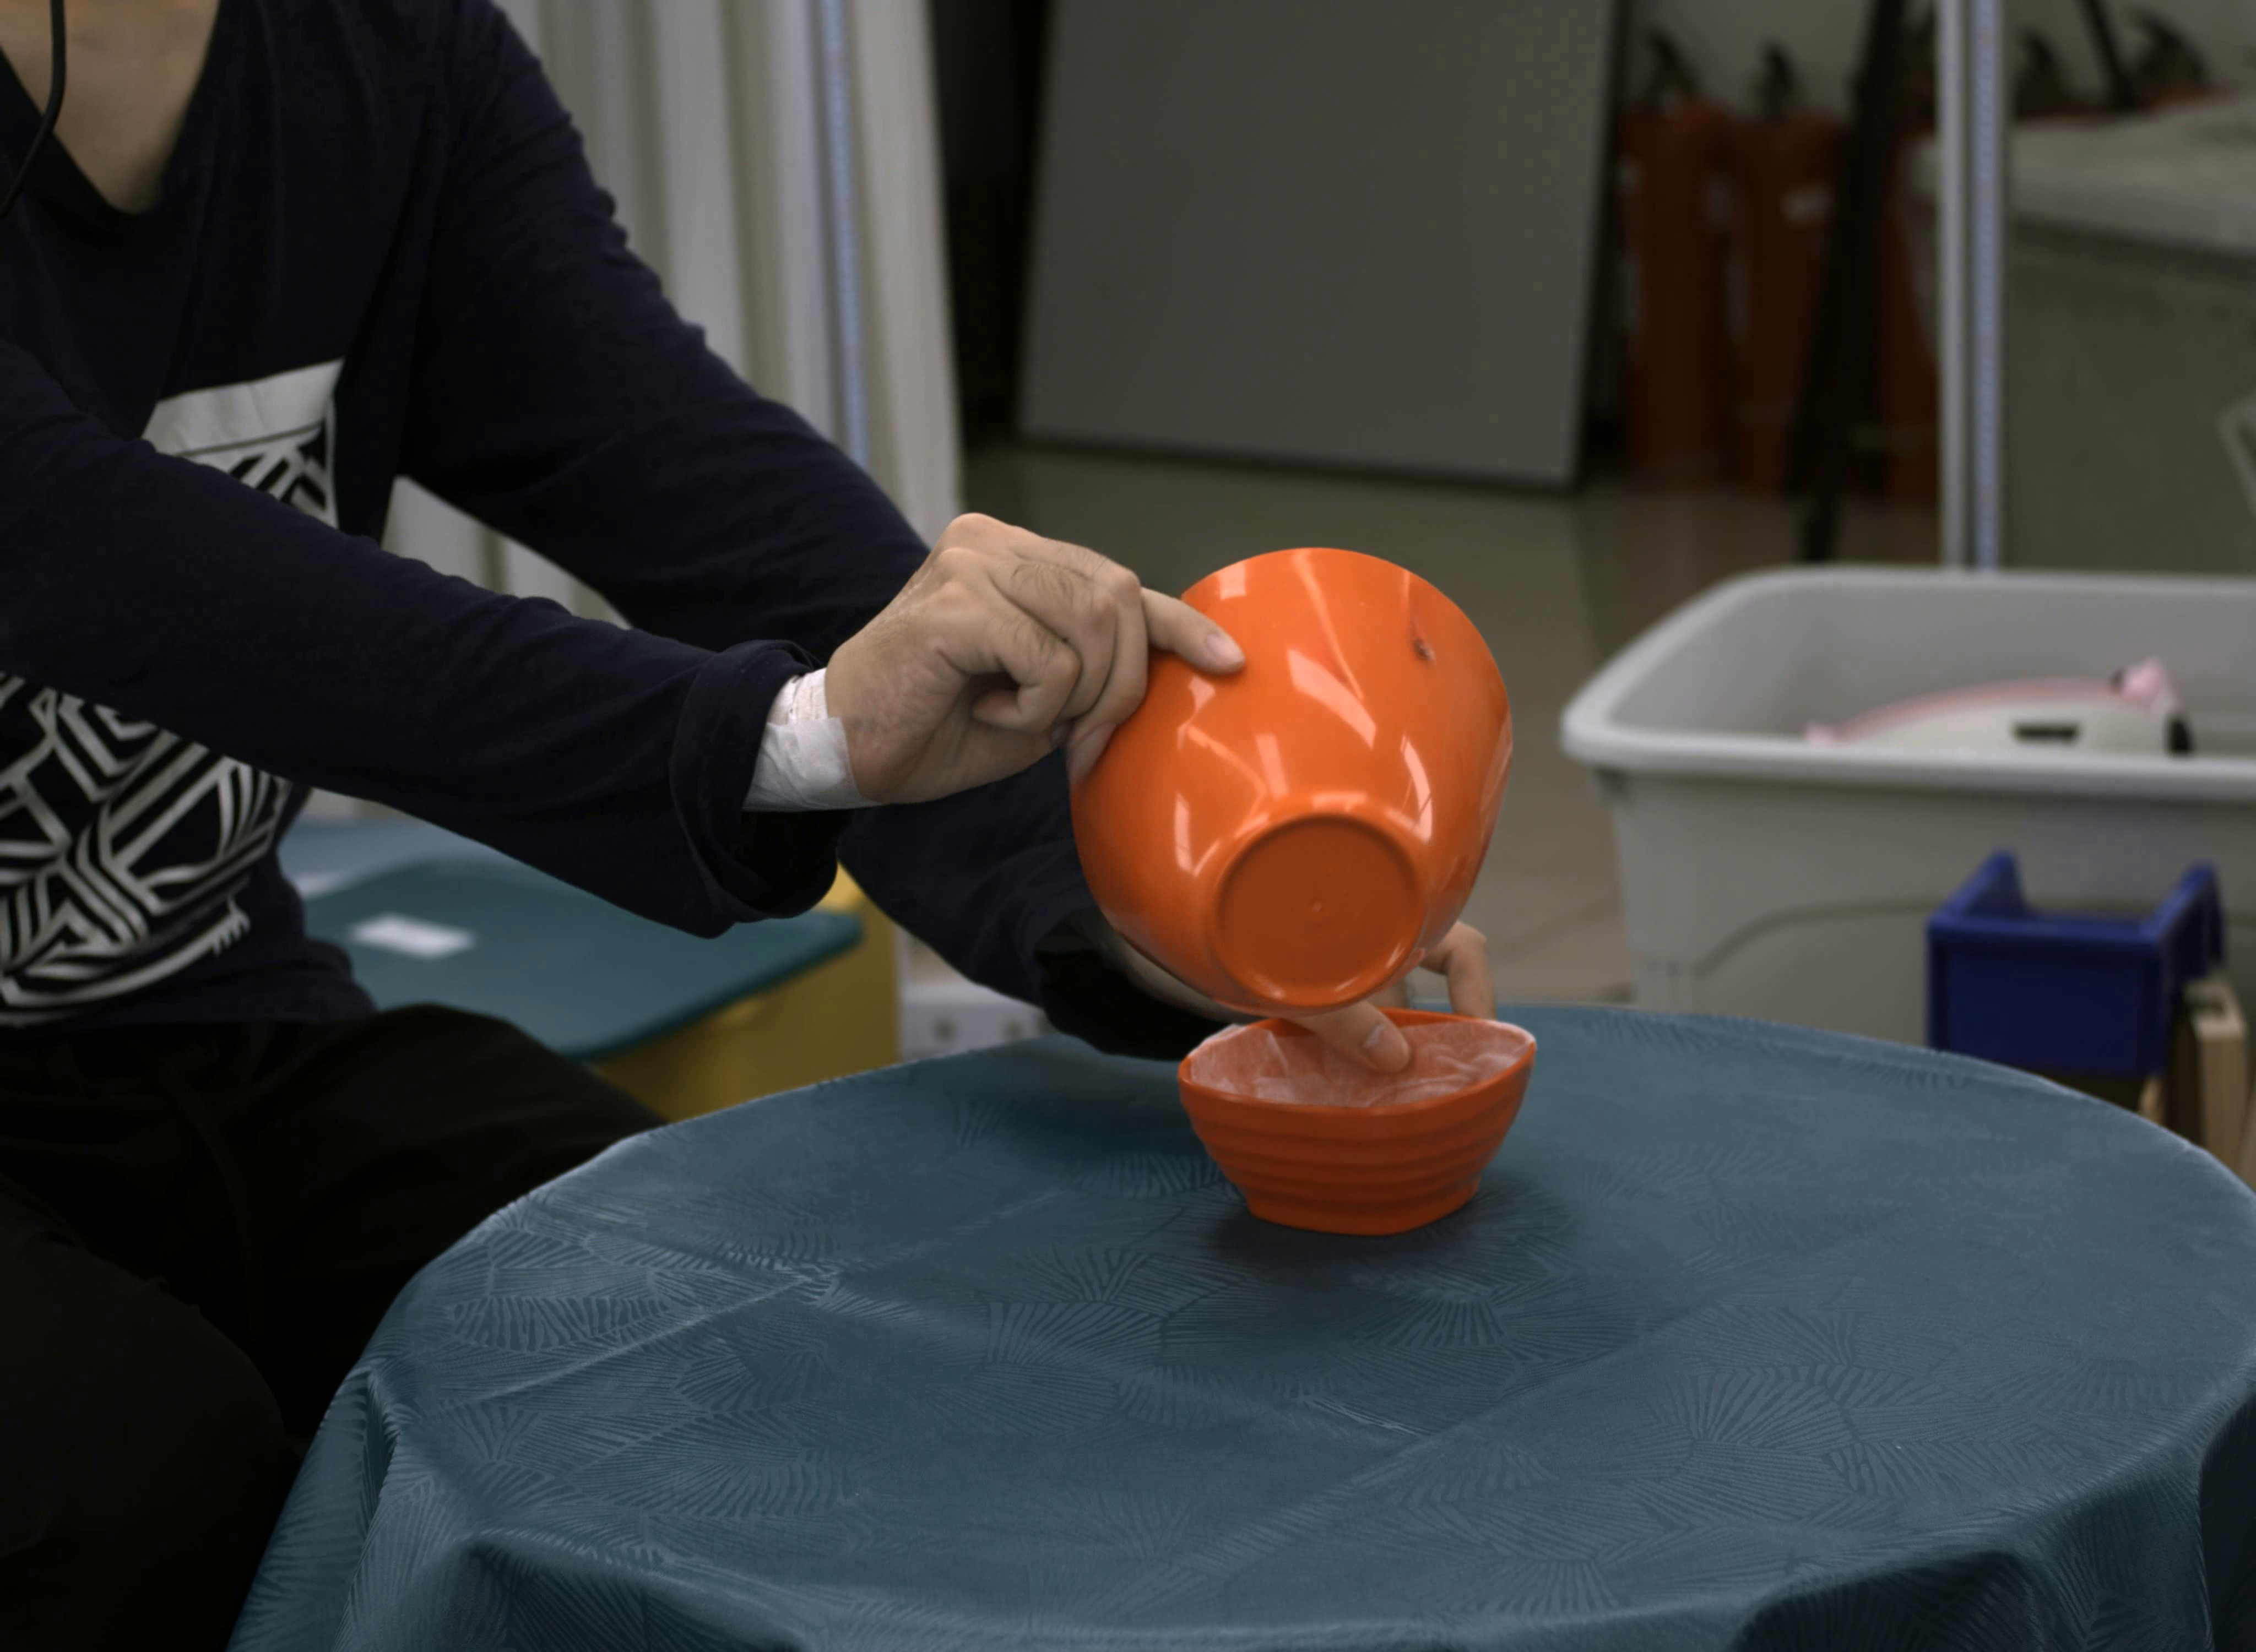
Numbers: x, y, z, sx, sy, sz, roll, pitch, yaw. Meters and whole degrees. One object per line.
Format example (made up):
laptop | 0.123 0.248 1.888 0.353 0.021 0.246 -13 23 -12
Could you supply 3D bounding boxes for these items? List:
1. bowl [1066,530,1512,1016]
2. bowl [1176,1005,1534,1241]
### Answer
bowl | 0.057 -0.003 1.651 0.145 0.149 0.105 -5 26 -7
bowl | 0.075 0.098 1.741 0.117 0.052 0.119 -5 15 0
